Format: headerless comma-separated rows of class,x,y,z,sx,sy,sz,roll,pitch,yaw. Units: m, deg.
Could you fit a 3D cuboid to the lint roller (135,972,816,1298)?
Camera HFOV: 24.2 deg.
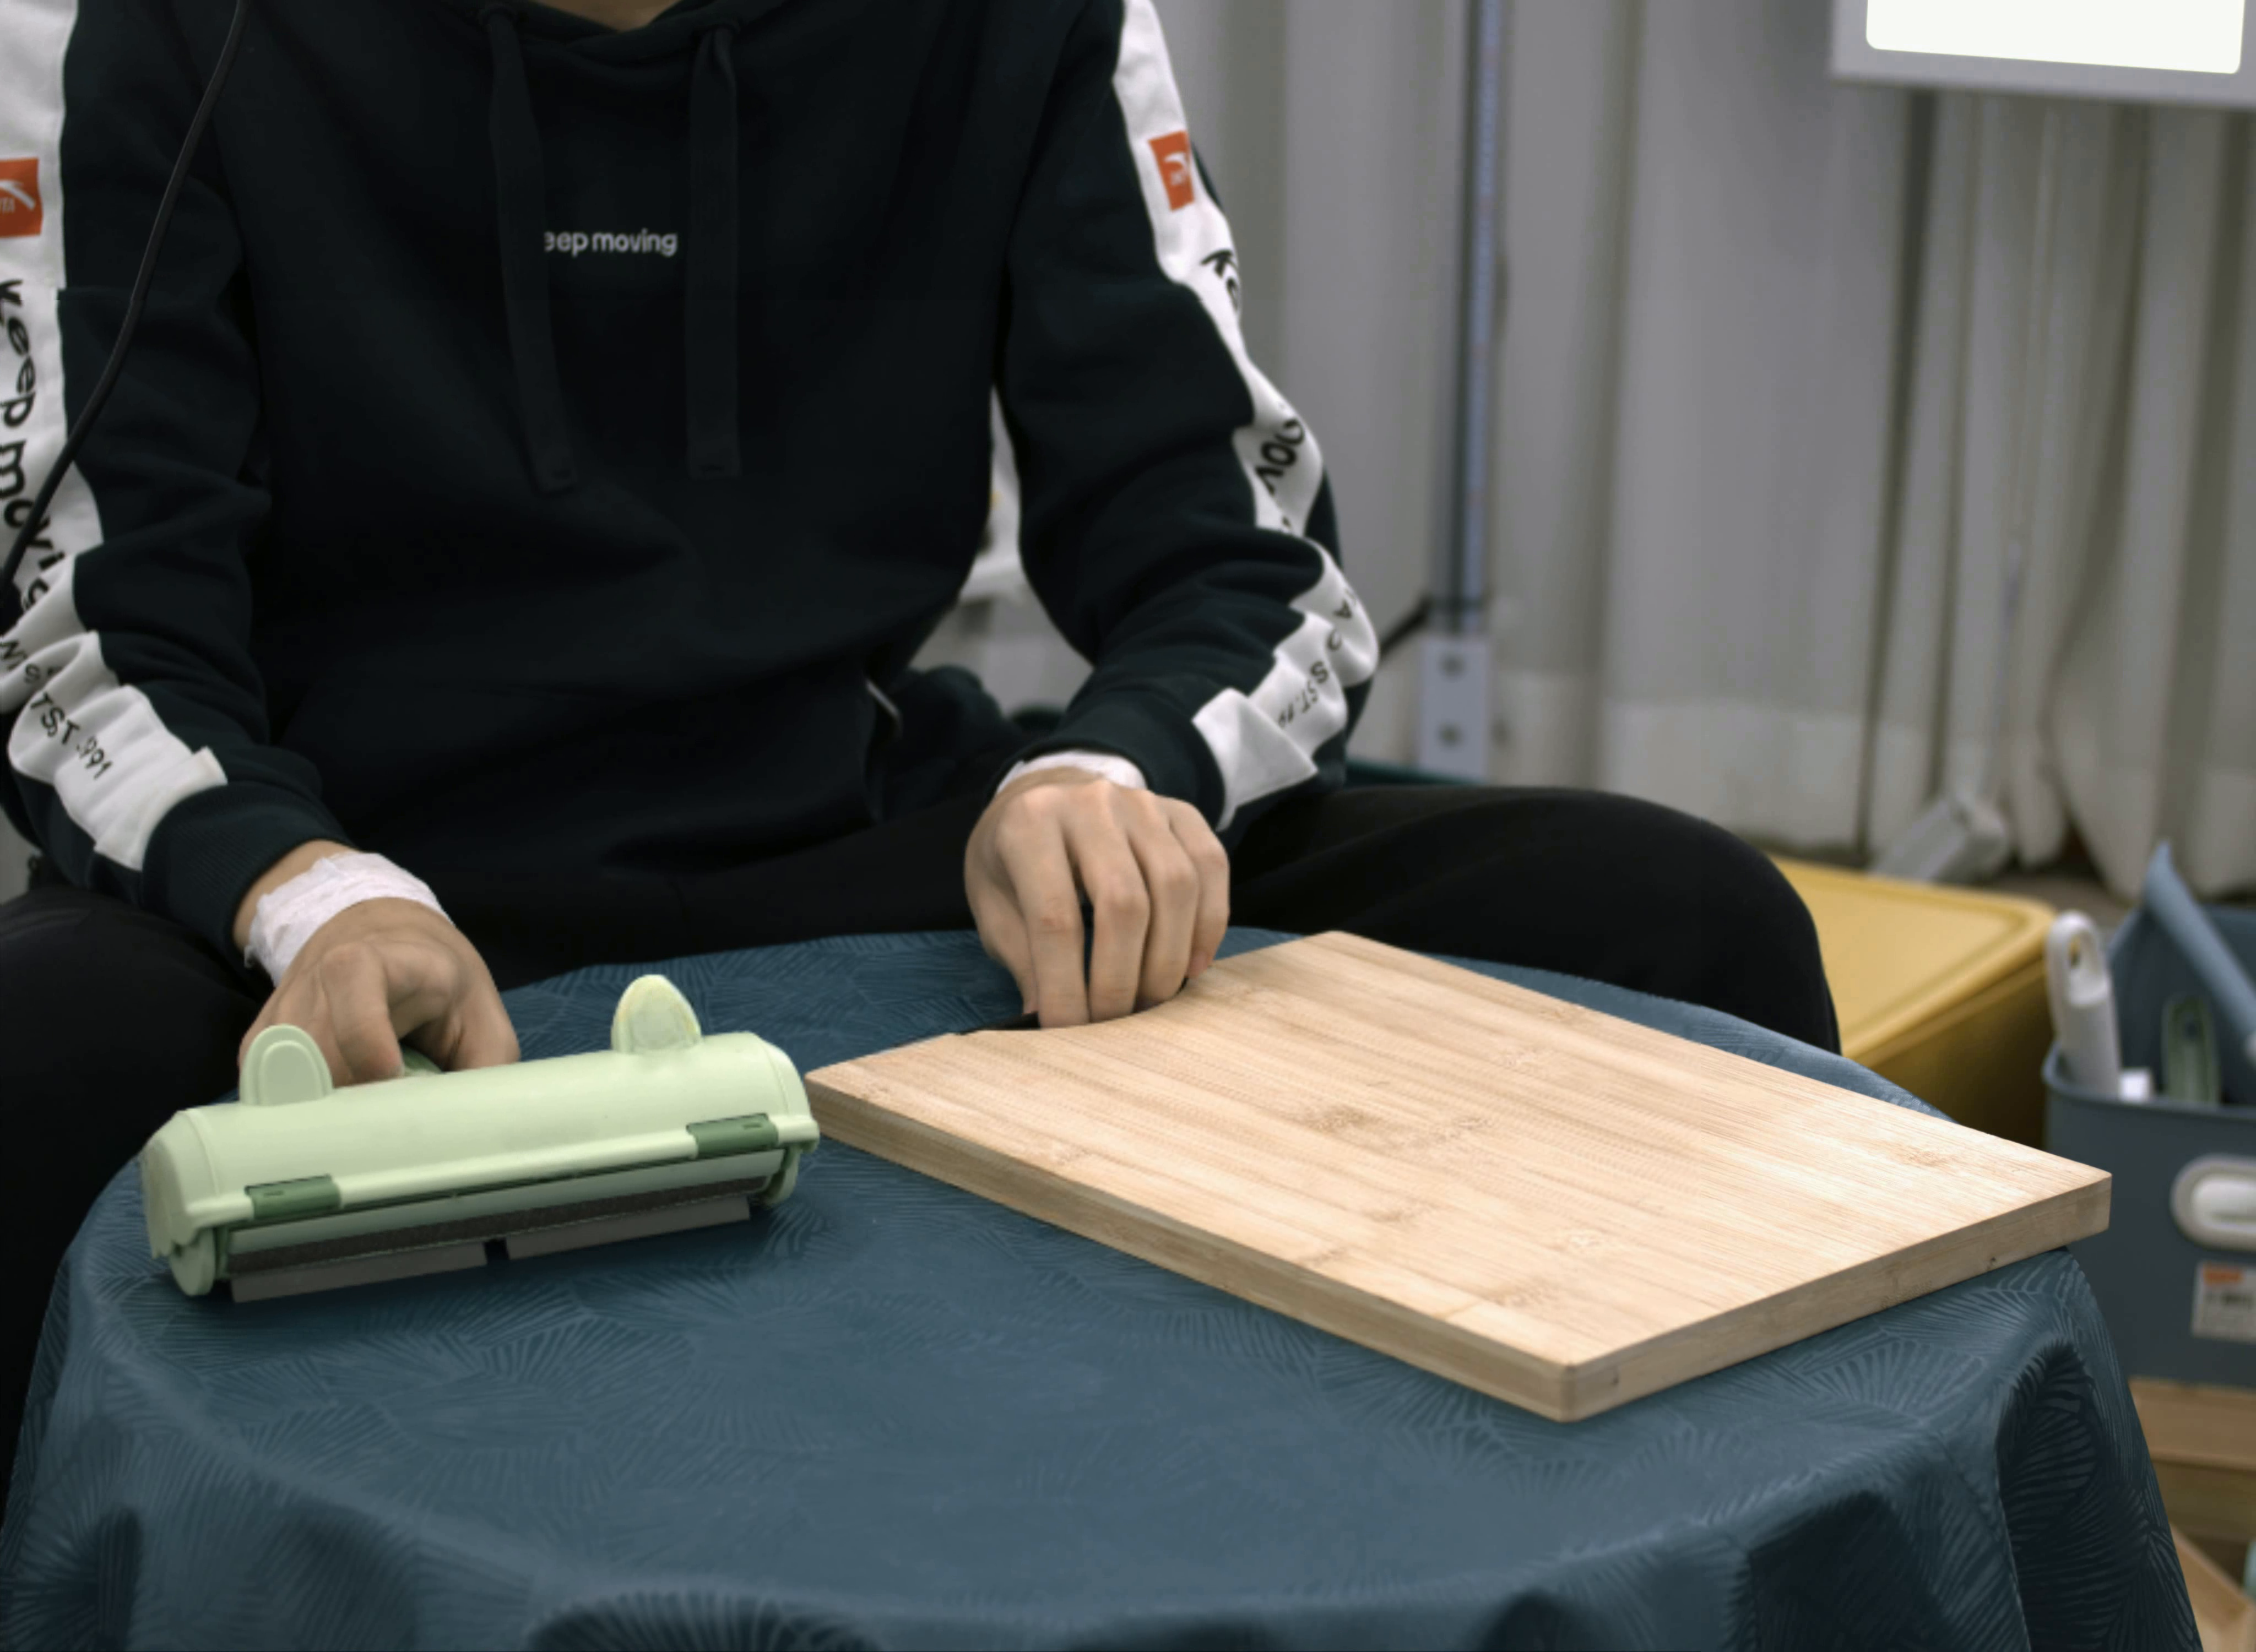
lint roller,-0.215,0.075,1.599,0.199,0.083,0.181,-7,22,-25

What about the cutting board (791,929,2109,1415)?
cutting board,0.094,0.100,1.637,0.252,0.024,0.344,-13,21,-41
